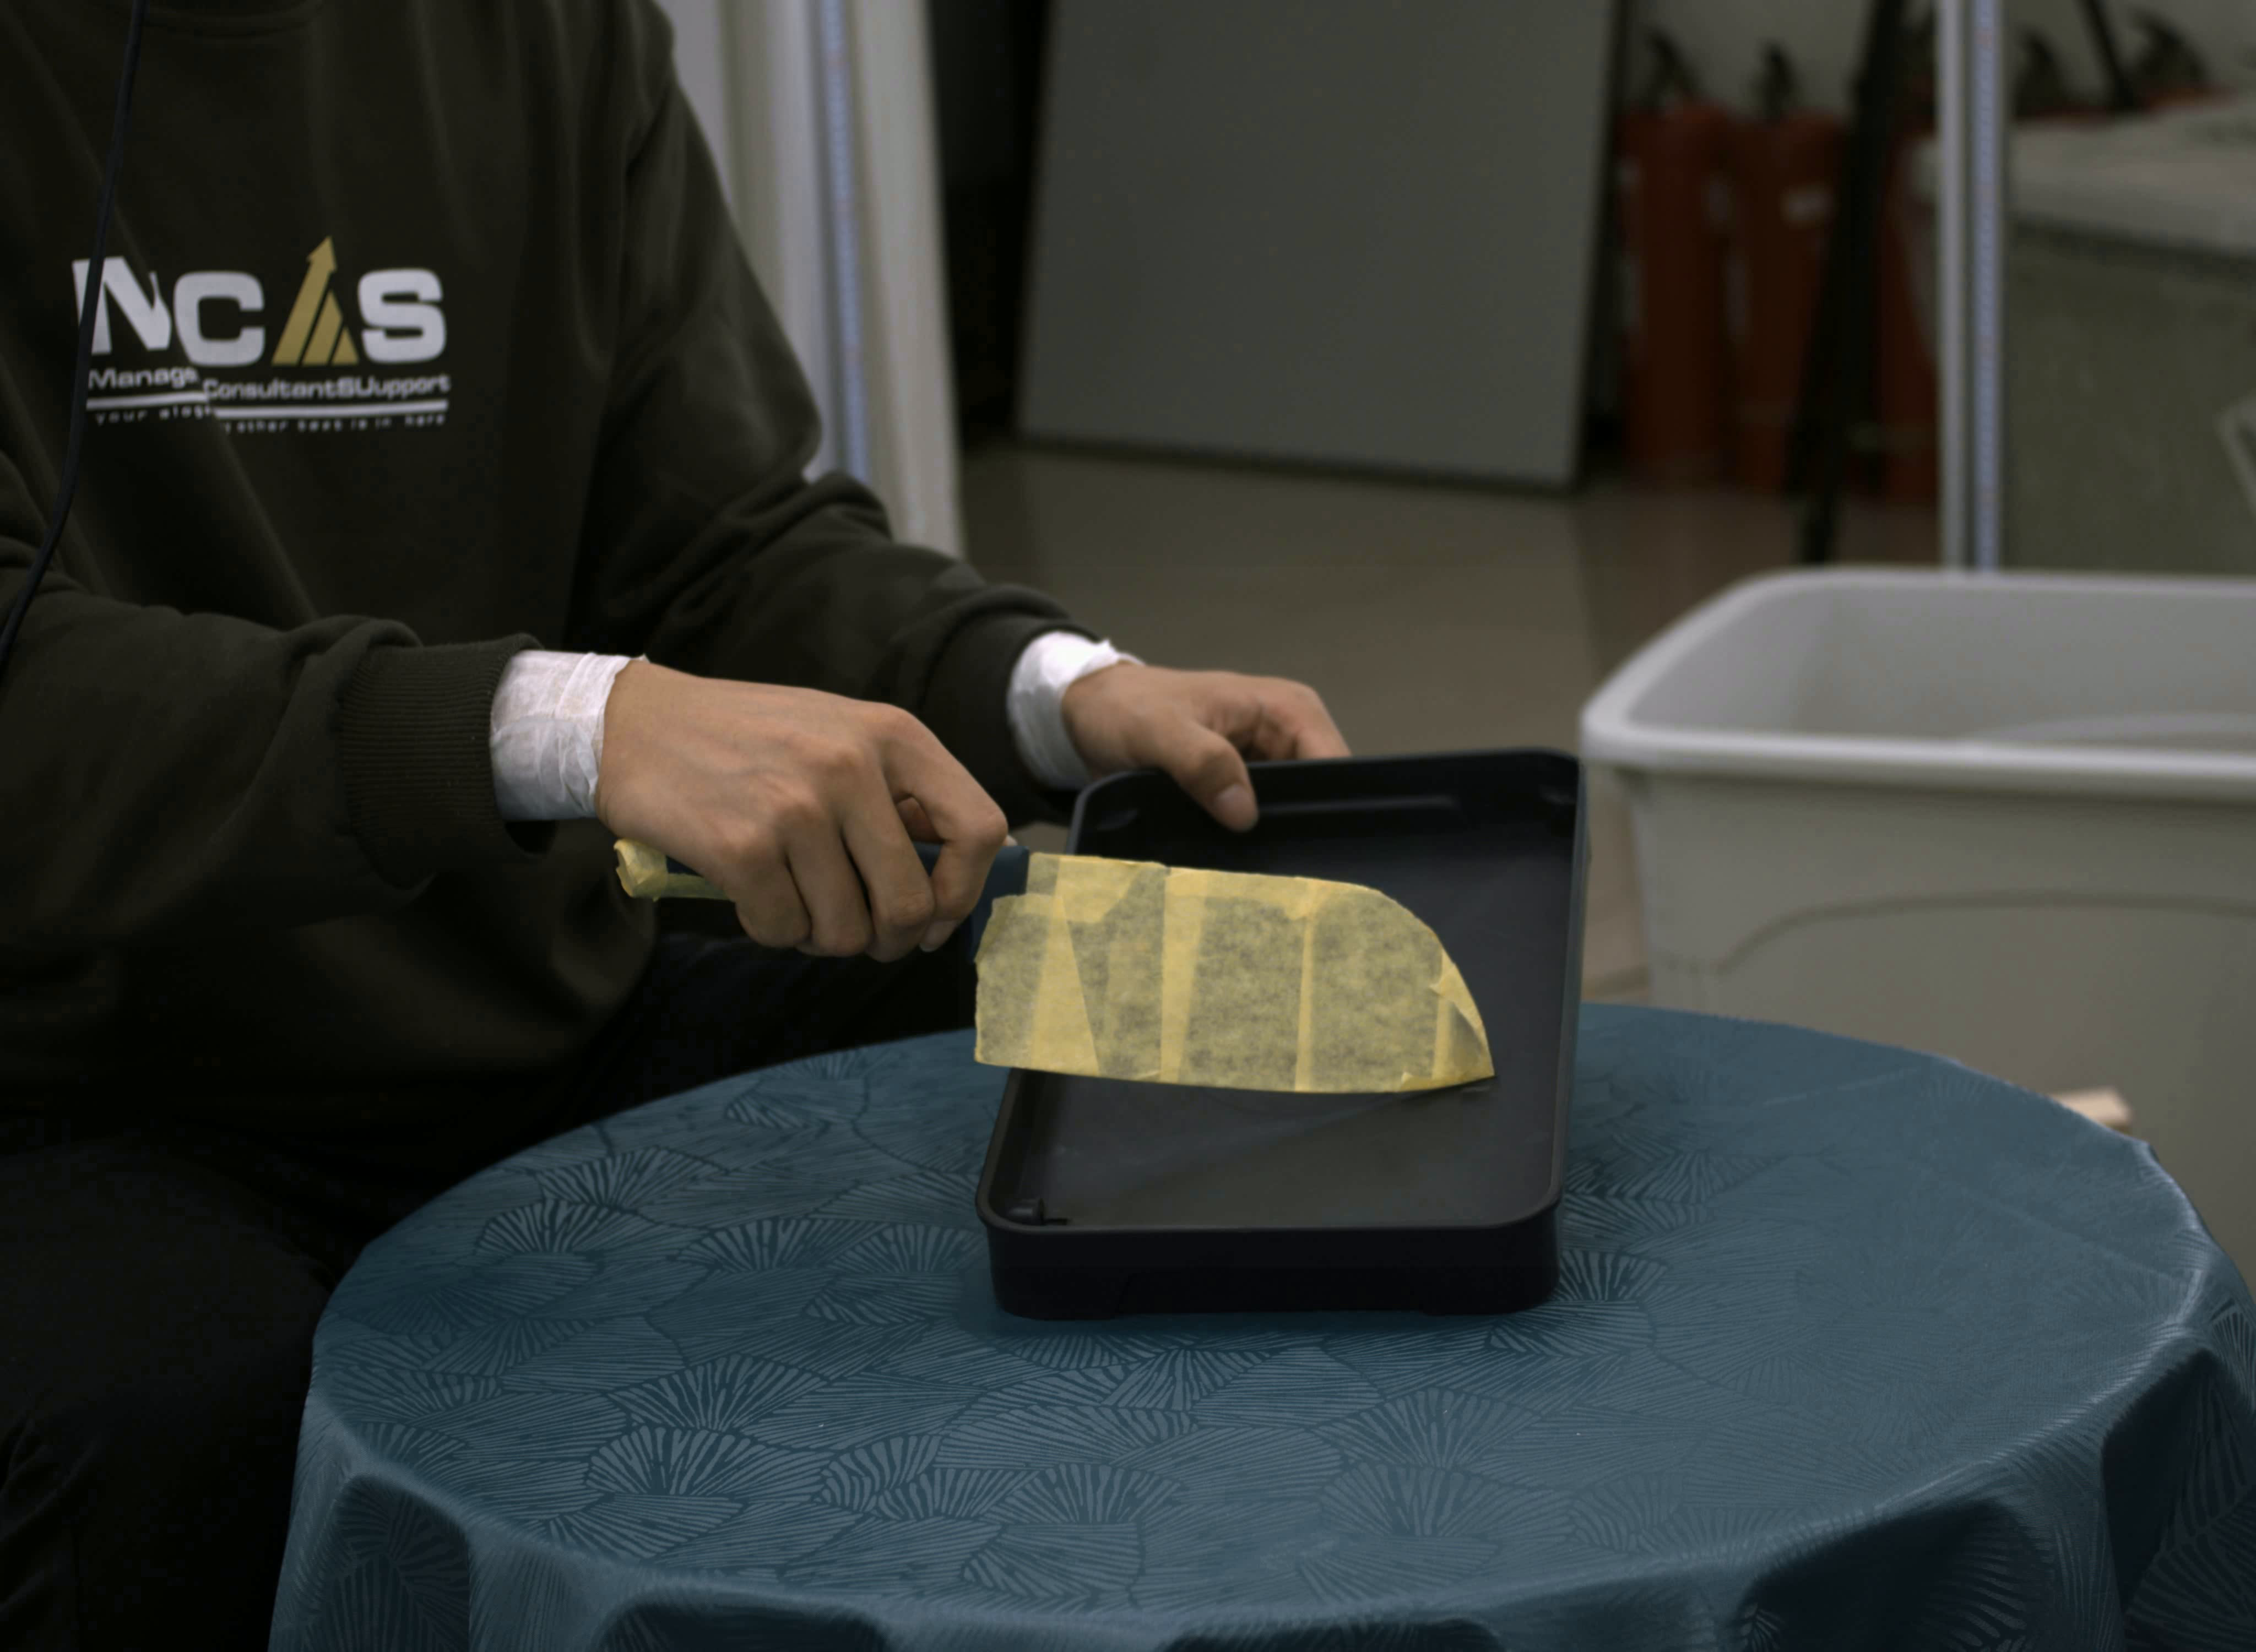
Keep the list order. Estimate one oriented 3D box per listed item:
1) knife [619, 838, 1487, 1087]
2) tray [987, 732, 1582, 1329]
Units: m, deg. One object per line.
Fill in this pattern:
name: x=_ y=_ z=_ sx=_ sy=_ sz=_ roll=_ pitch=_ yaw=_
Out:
knife: x=-0.024 y=0.044 z=1.744 sx=0.285 sy=0.082 sz=0.027 roll=7 pitch=-20 yaw=-2
tray: x=0.059 y=0.062 z=1.776 sx=0.183 sy=0.037 sz=0.318 roll=-5 pitch=27 yaw=8
